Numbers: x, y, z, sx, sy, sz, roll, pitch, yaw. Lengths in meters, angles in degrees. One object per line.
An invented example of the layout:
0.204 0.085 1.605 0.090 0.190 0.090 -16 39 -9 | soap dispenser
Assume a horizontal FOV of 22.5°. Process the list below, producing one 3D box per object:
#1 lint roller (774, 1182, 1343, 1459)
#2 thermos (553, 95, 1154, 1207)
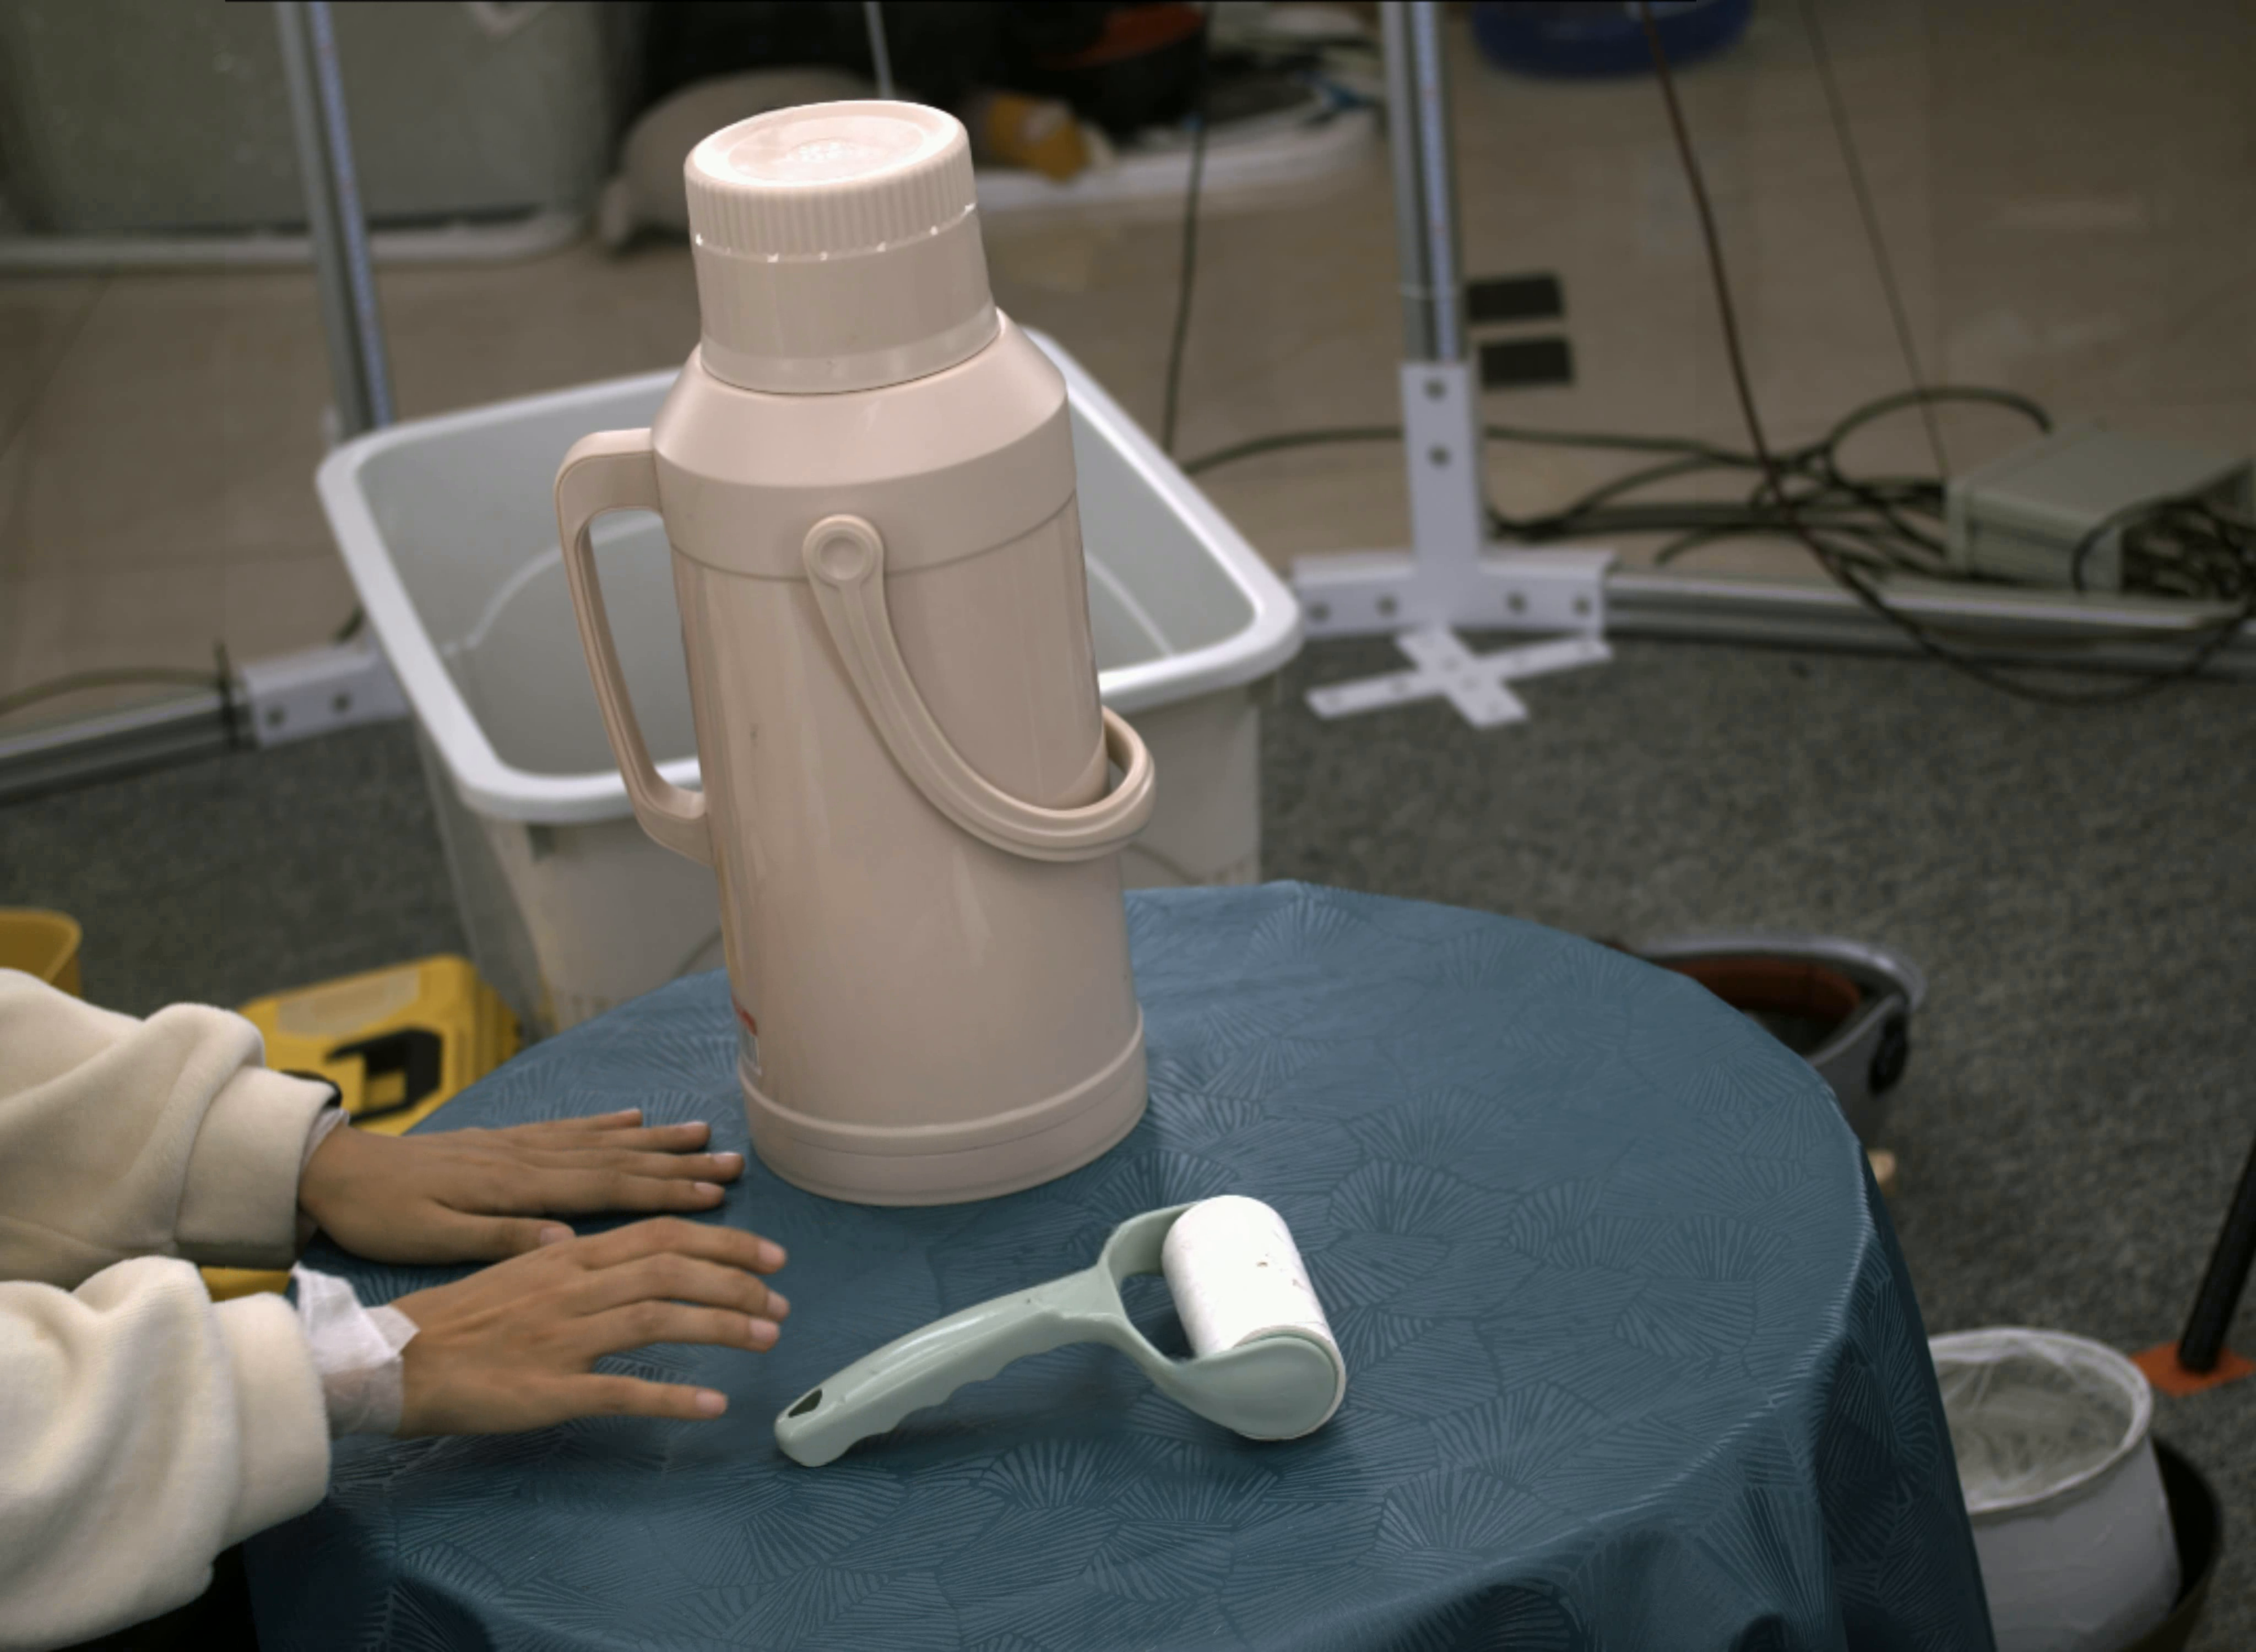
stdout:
-0.030 0.182 2.007 0.197 0.049 0.115 -9 27 -6 | lint roller
-0.103 -0.066 2.137 0.207 0.413 0.172 -4 26 5 | thermos
